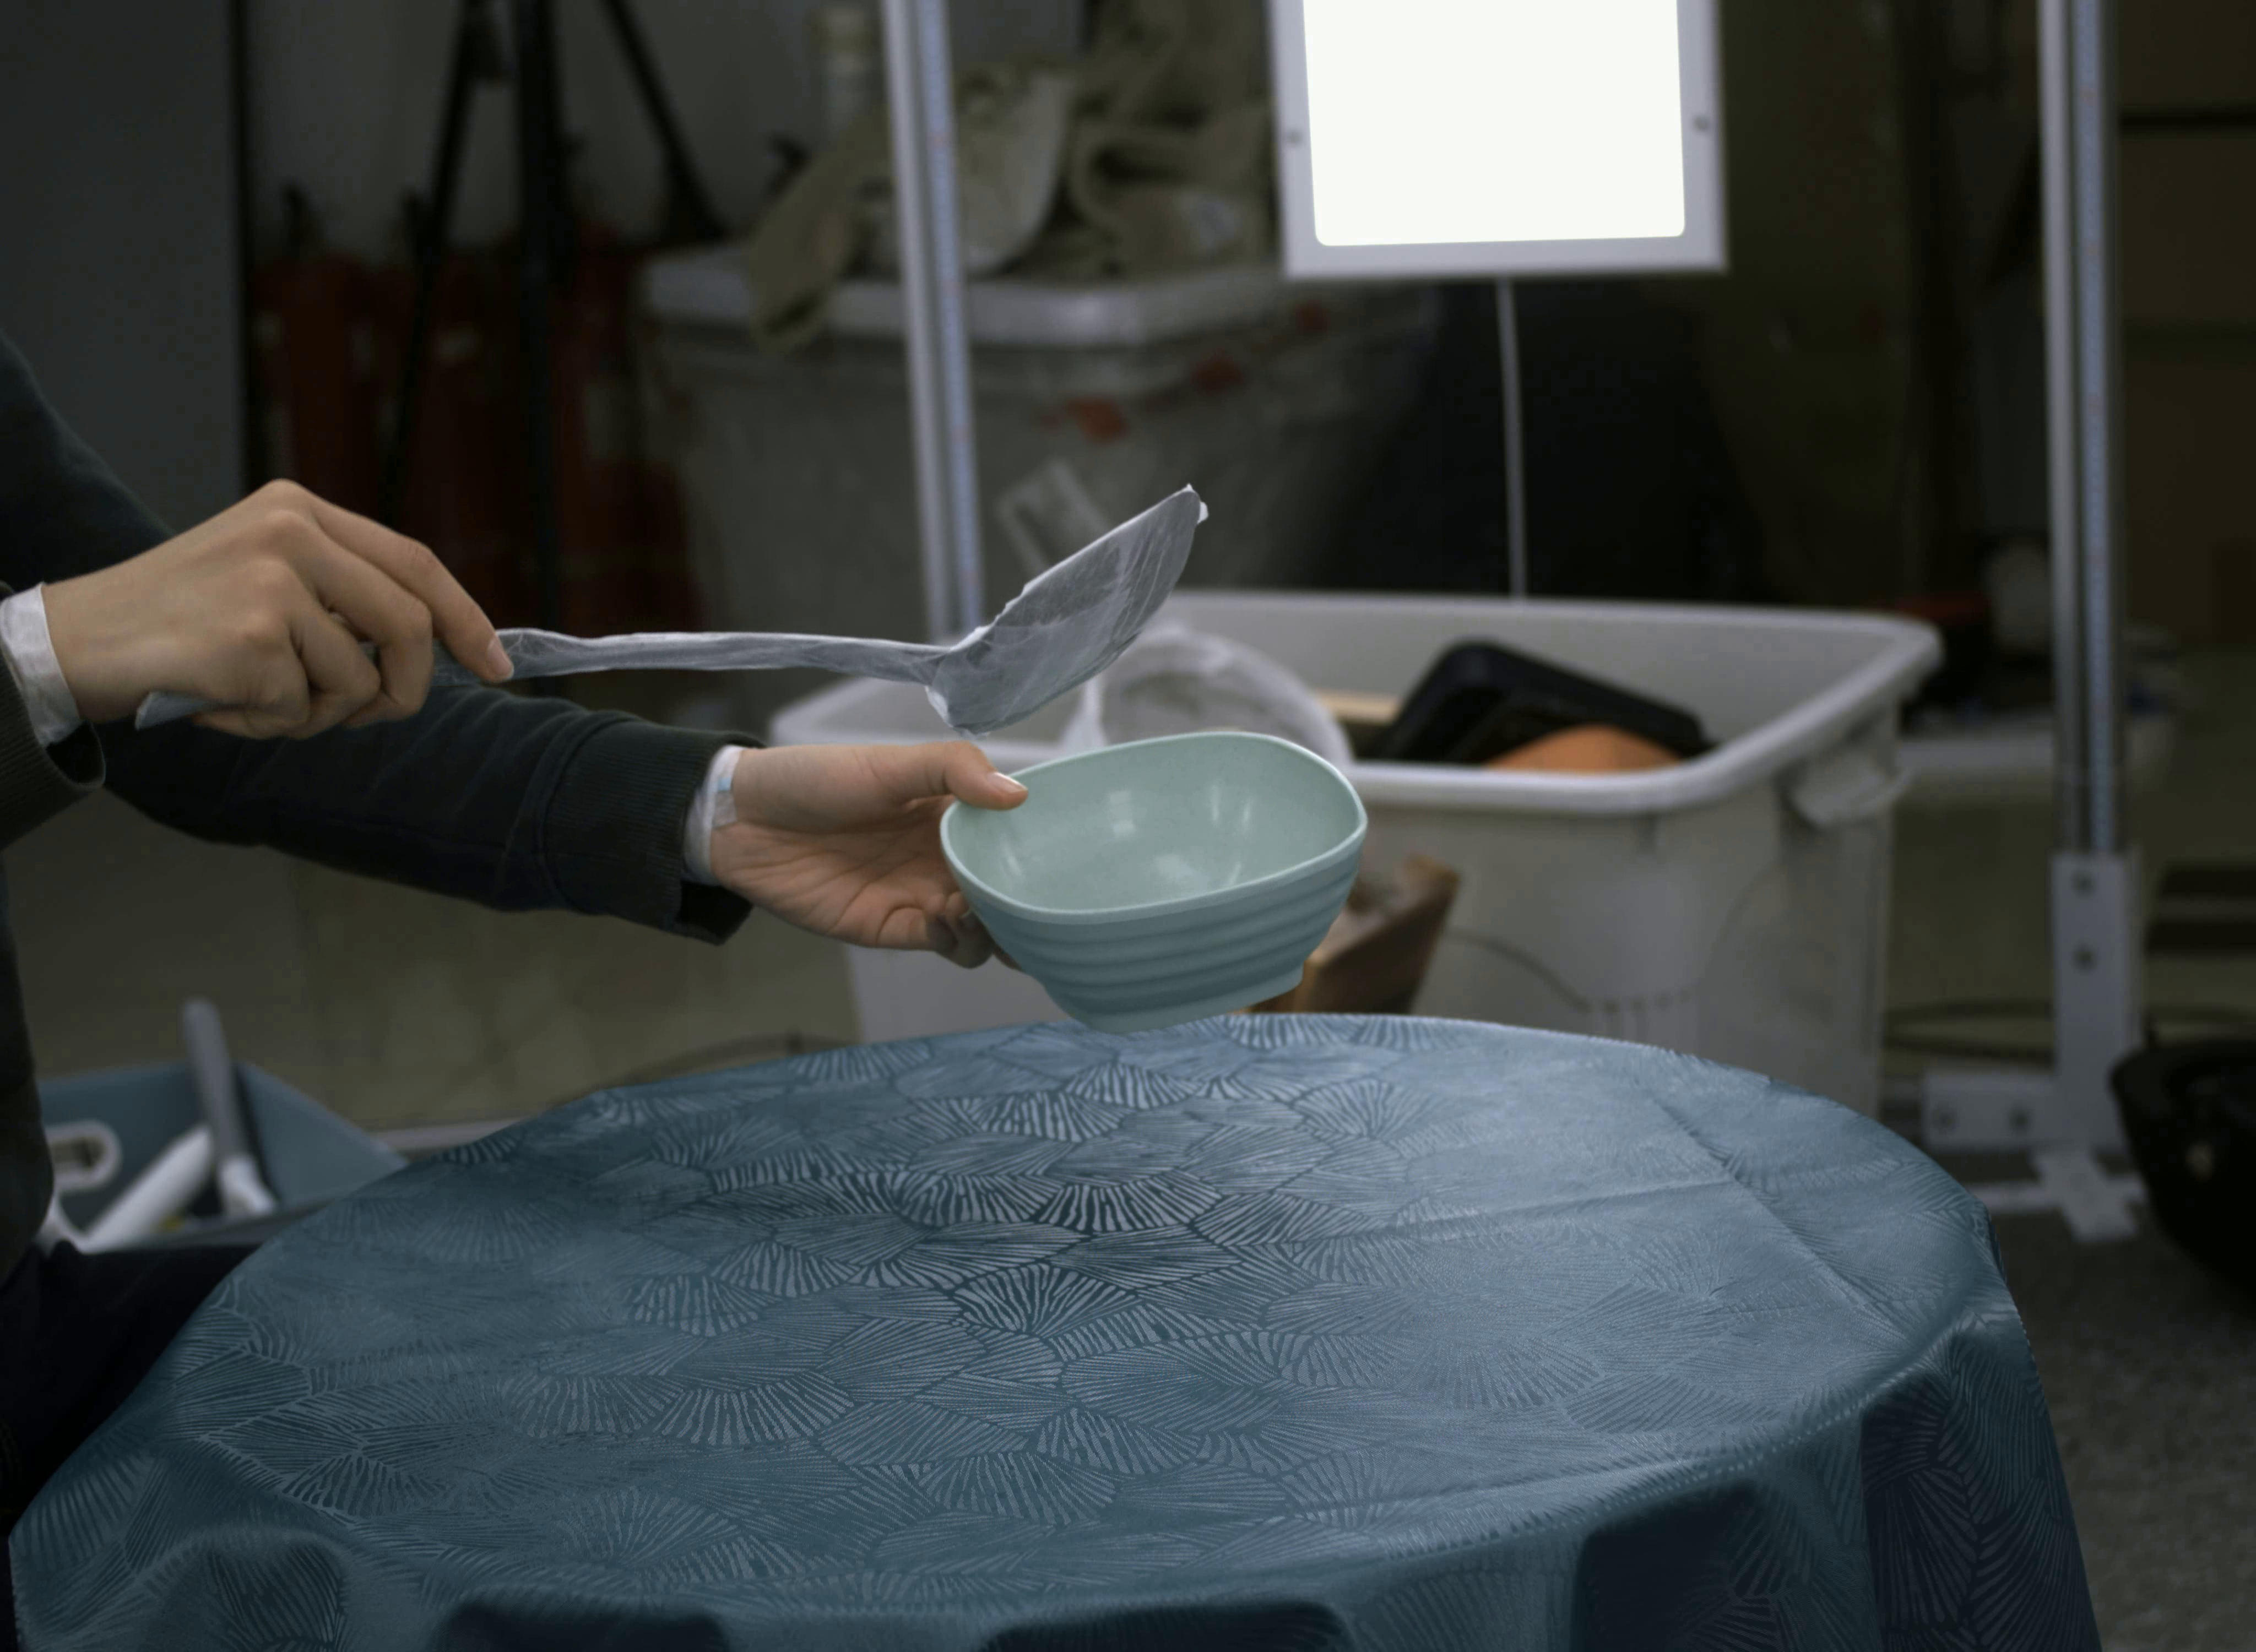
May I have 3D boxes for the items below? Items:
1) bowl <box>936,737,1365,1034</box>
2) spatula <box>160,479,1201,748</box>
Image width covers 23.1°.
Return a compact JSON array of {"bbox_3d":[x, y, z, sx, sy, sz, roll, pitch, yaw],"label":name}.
[{"bbox_3d":[0.009,0.024,1.852,0.151,0.059,0.151,-5,23,1],"label":"bowl"},{"bbox_3d":[-0.133,-0.057,1.715,0.356,0.100,0.045,-4,53,-28],"label":"spatula"}]
